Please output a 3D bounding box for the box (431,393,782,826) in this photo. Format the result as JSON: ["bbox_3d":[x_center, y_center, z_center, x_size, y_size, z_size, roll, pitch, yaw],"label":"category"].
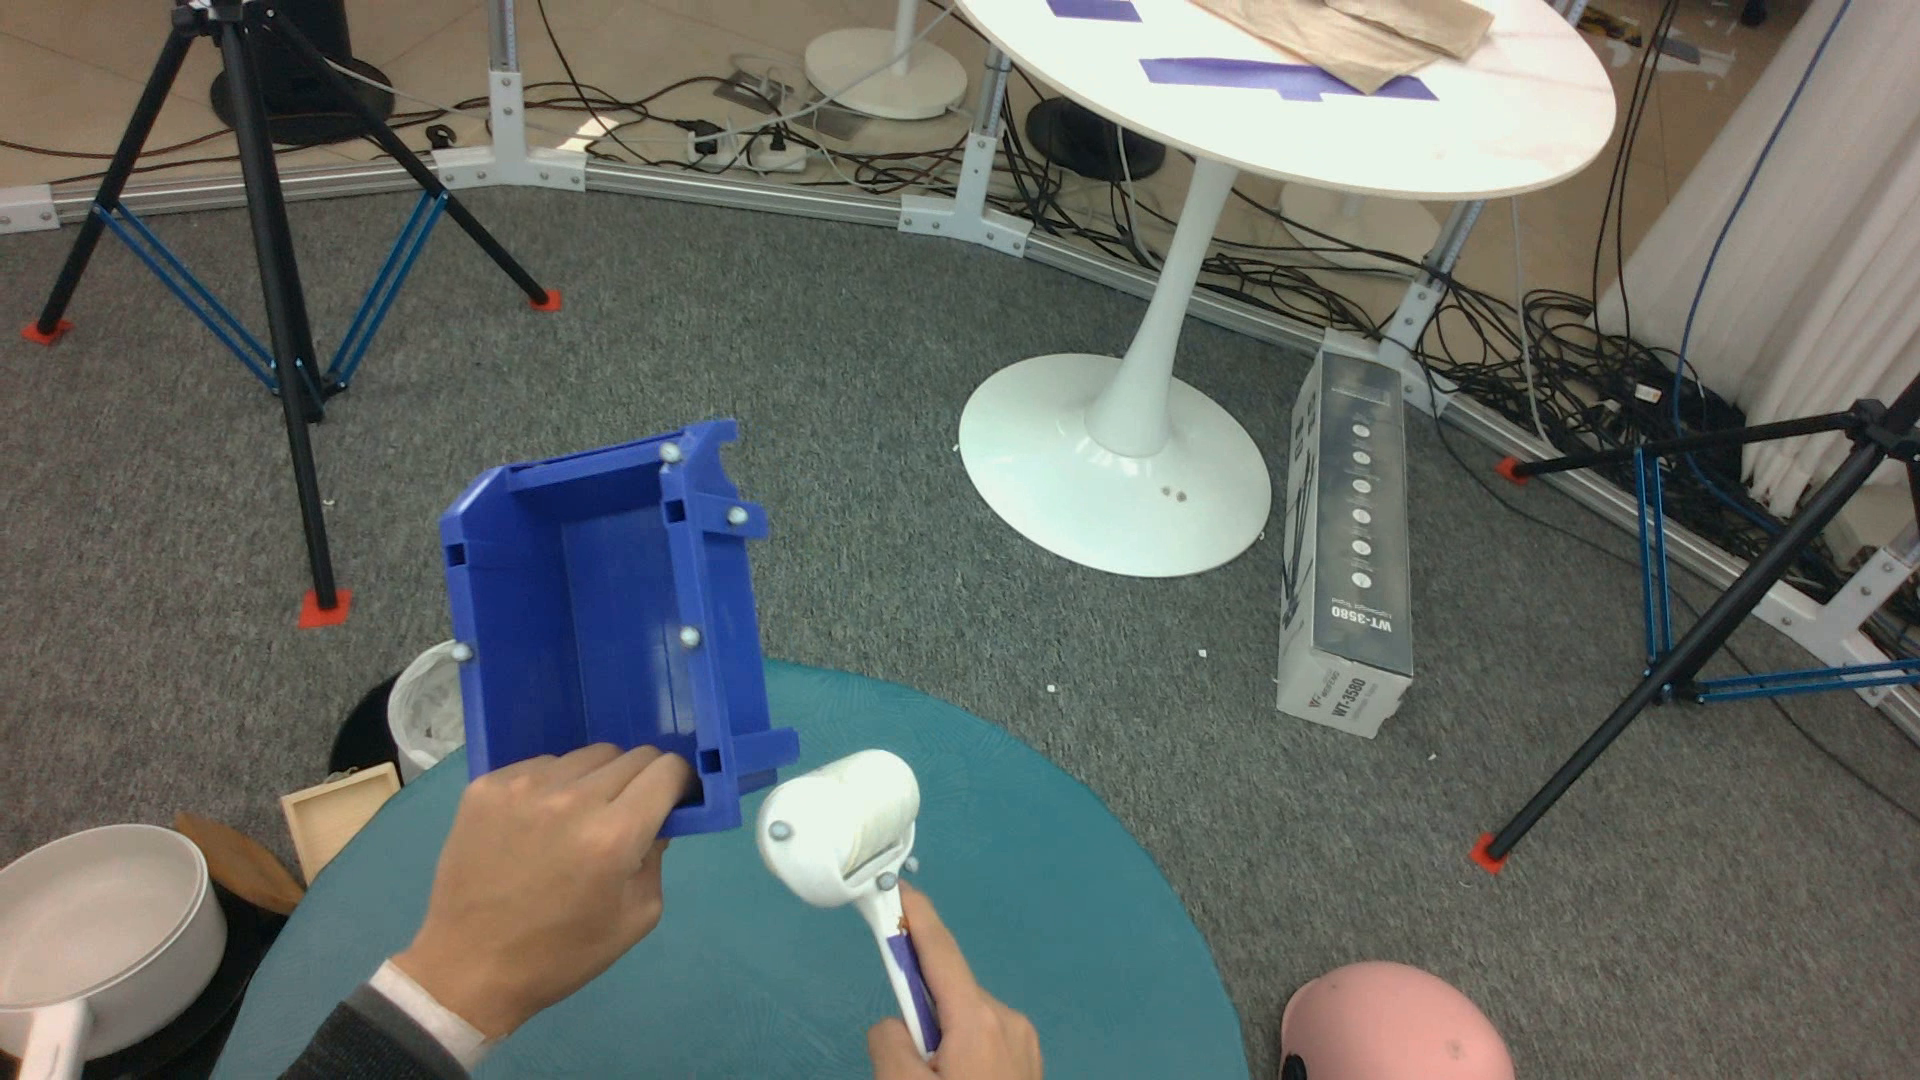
[{"bbox_3d":[-0.161,0.028,0.626,0.124,0.082,0.179,-9,87,15],"label":"box"}]

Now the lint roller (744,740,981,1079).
[{"bbox_3d":[-0.024,0.174,0.613,0.050,0.133,0.181,-35,80,8],"label":"lint roller"}]
